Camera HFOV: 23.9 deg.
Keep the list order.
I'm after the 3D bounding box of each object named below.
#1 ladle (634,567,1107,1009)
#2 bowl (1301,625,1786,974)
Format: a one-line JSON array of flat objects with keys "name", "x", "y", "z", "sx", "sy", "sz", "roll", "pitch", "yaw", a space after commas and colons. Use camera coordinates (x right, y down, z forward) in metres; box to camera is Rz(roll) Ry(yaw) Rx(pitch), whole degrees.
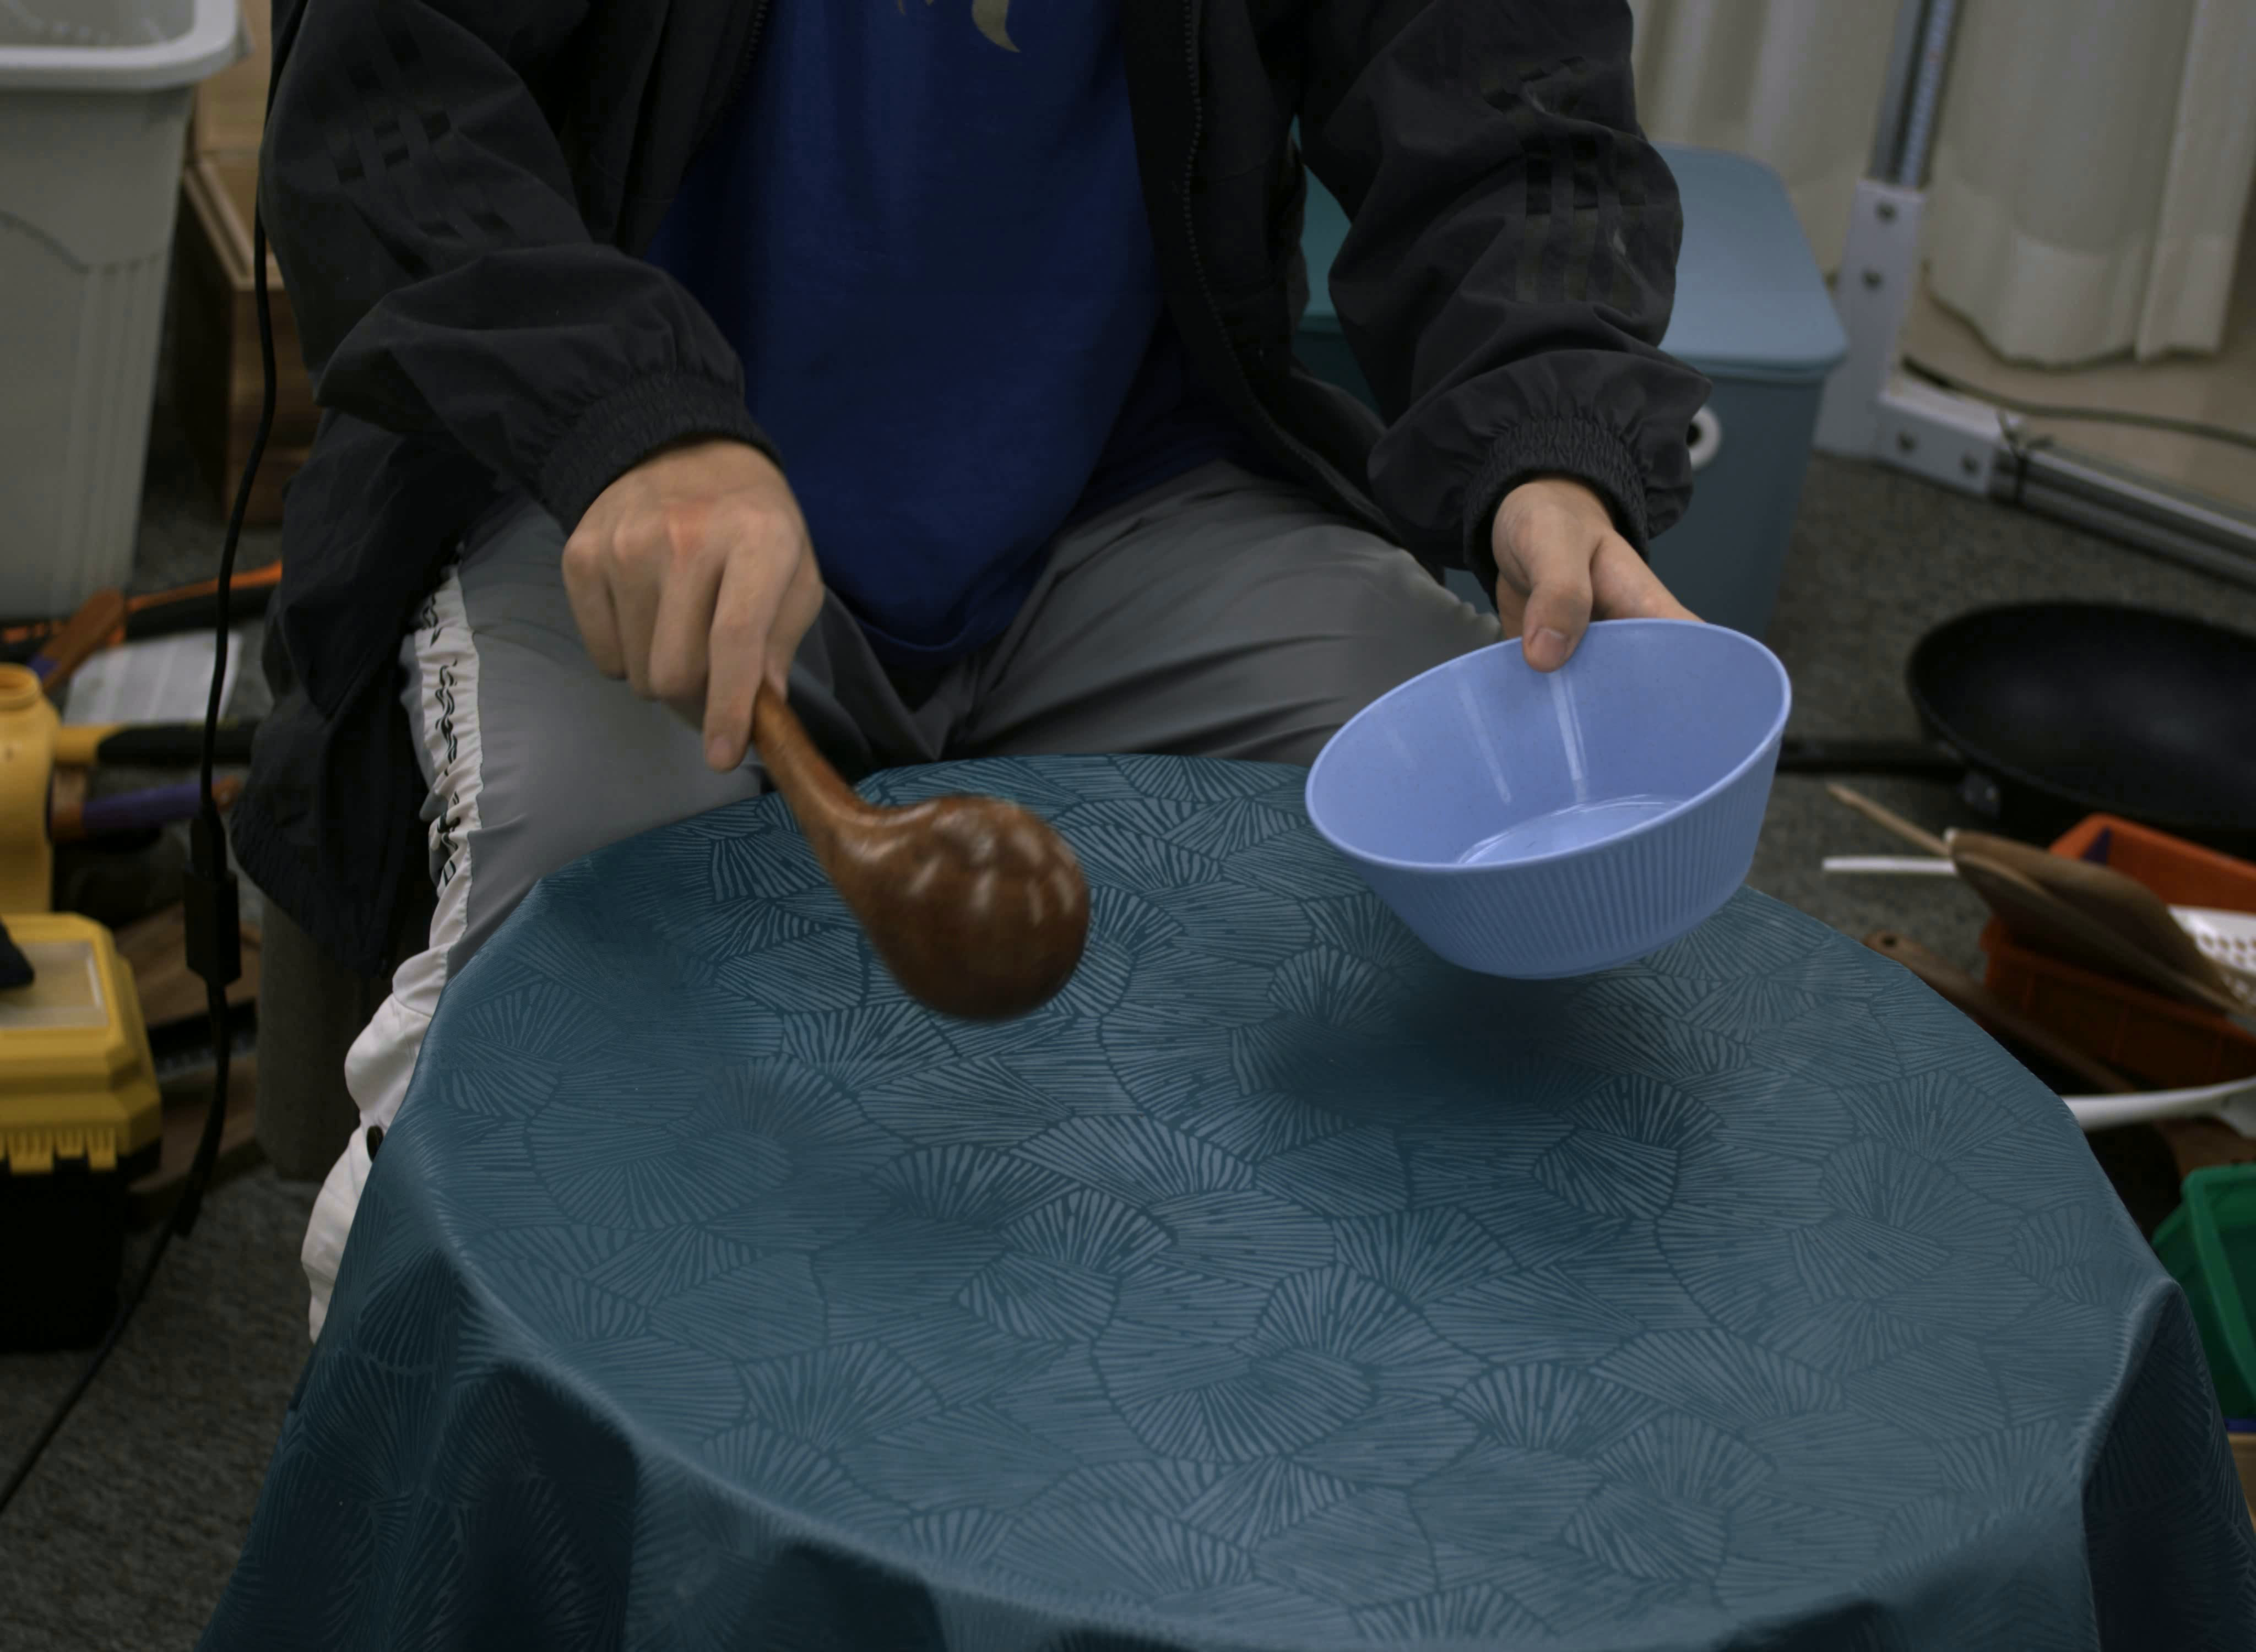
[{"name": "ladle", "x": -0.091, "y": -0.025, "z": 1.867, "sx": 0.076, "sy": 0.082, "sz": 0.276, "roll": 12, "pitch": 20, "yaw": -31}, {"name": "bowl", "x": 0.154, "y": -0.003, "z": 1.886, "sx": 0.176, "sy": 0.070, "sz": 0.177, "roll": -15, "pitch": 24, "yaw": 6}]
